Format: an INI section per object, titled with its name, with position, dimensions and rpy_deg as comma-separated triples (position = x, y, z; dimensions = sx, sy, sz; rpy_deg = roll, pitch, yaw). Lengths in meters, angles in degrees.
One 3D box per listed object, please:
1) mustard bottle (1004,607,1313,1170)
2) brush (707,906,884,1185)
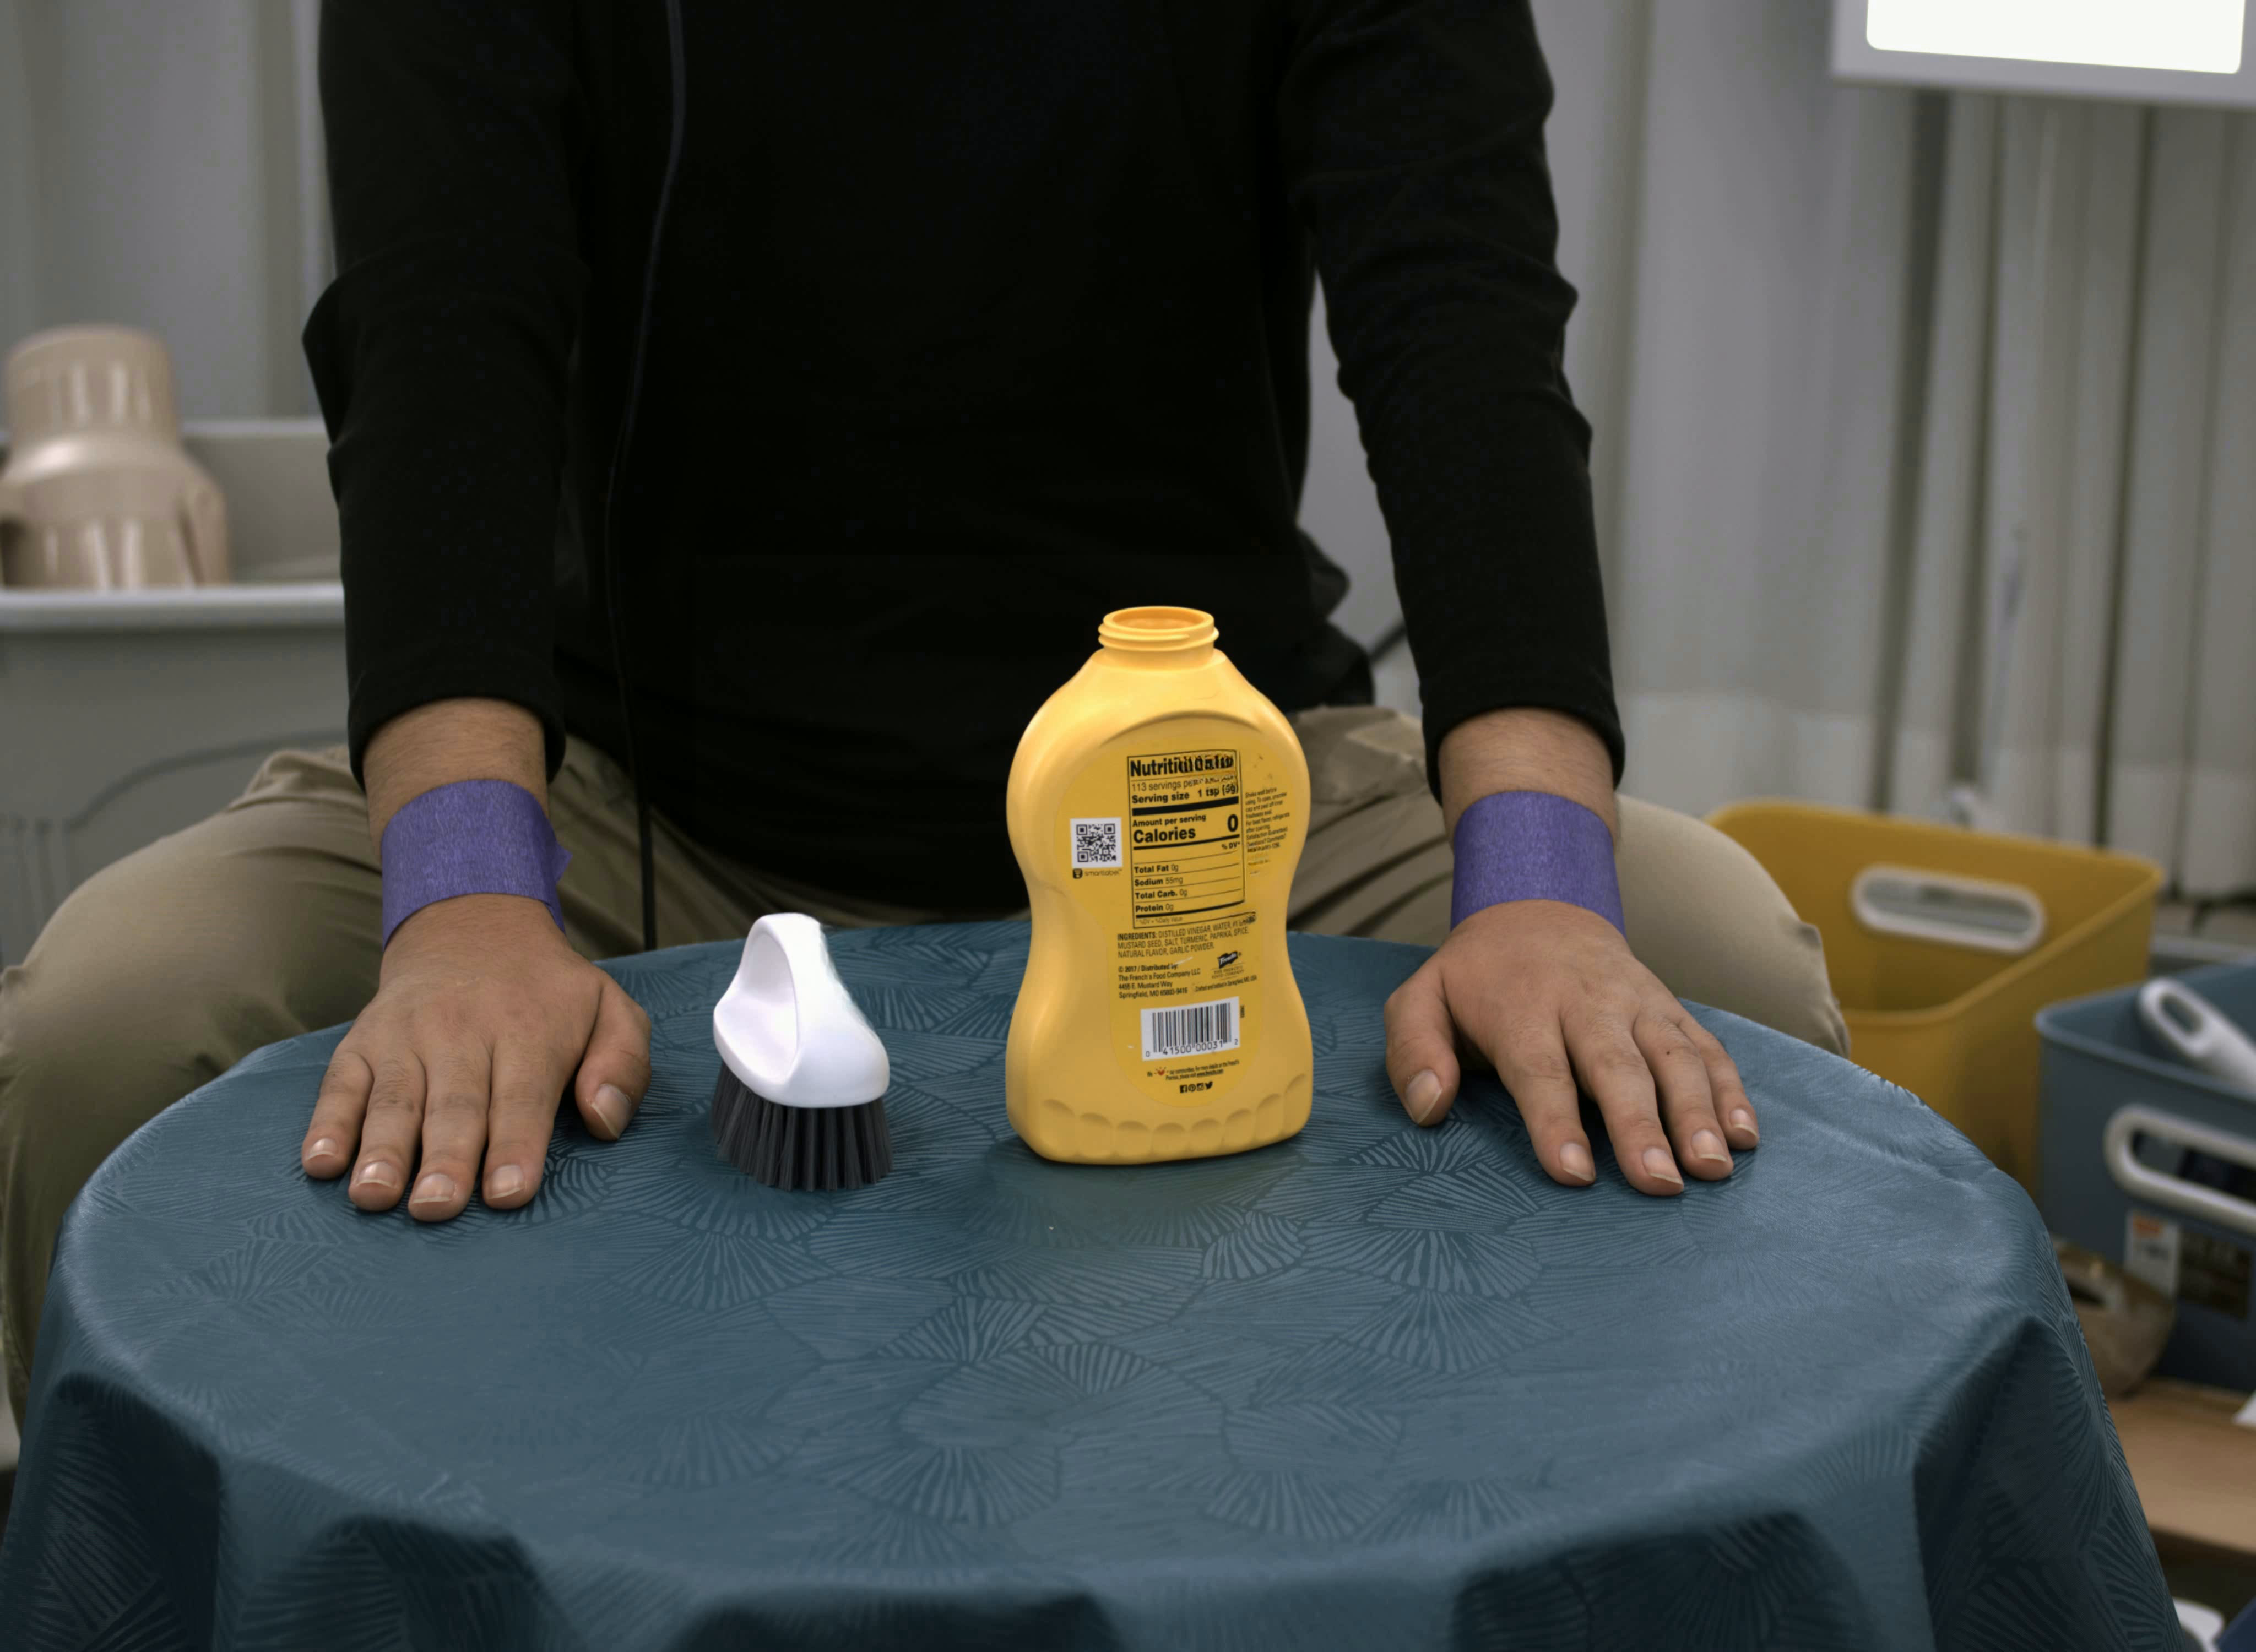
[mustard bottle]
position = 0.008, 0.018, 1.644
dimensions = 0.098, 0.173, 0.058
rpy_deg = -7, 15, -20
[brush]
position = -0.105, 0.064, 1.653
dimensions = 0.050, 0.073, 0.098
rpy_deg = -2, 17, -14
